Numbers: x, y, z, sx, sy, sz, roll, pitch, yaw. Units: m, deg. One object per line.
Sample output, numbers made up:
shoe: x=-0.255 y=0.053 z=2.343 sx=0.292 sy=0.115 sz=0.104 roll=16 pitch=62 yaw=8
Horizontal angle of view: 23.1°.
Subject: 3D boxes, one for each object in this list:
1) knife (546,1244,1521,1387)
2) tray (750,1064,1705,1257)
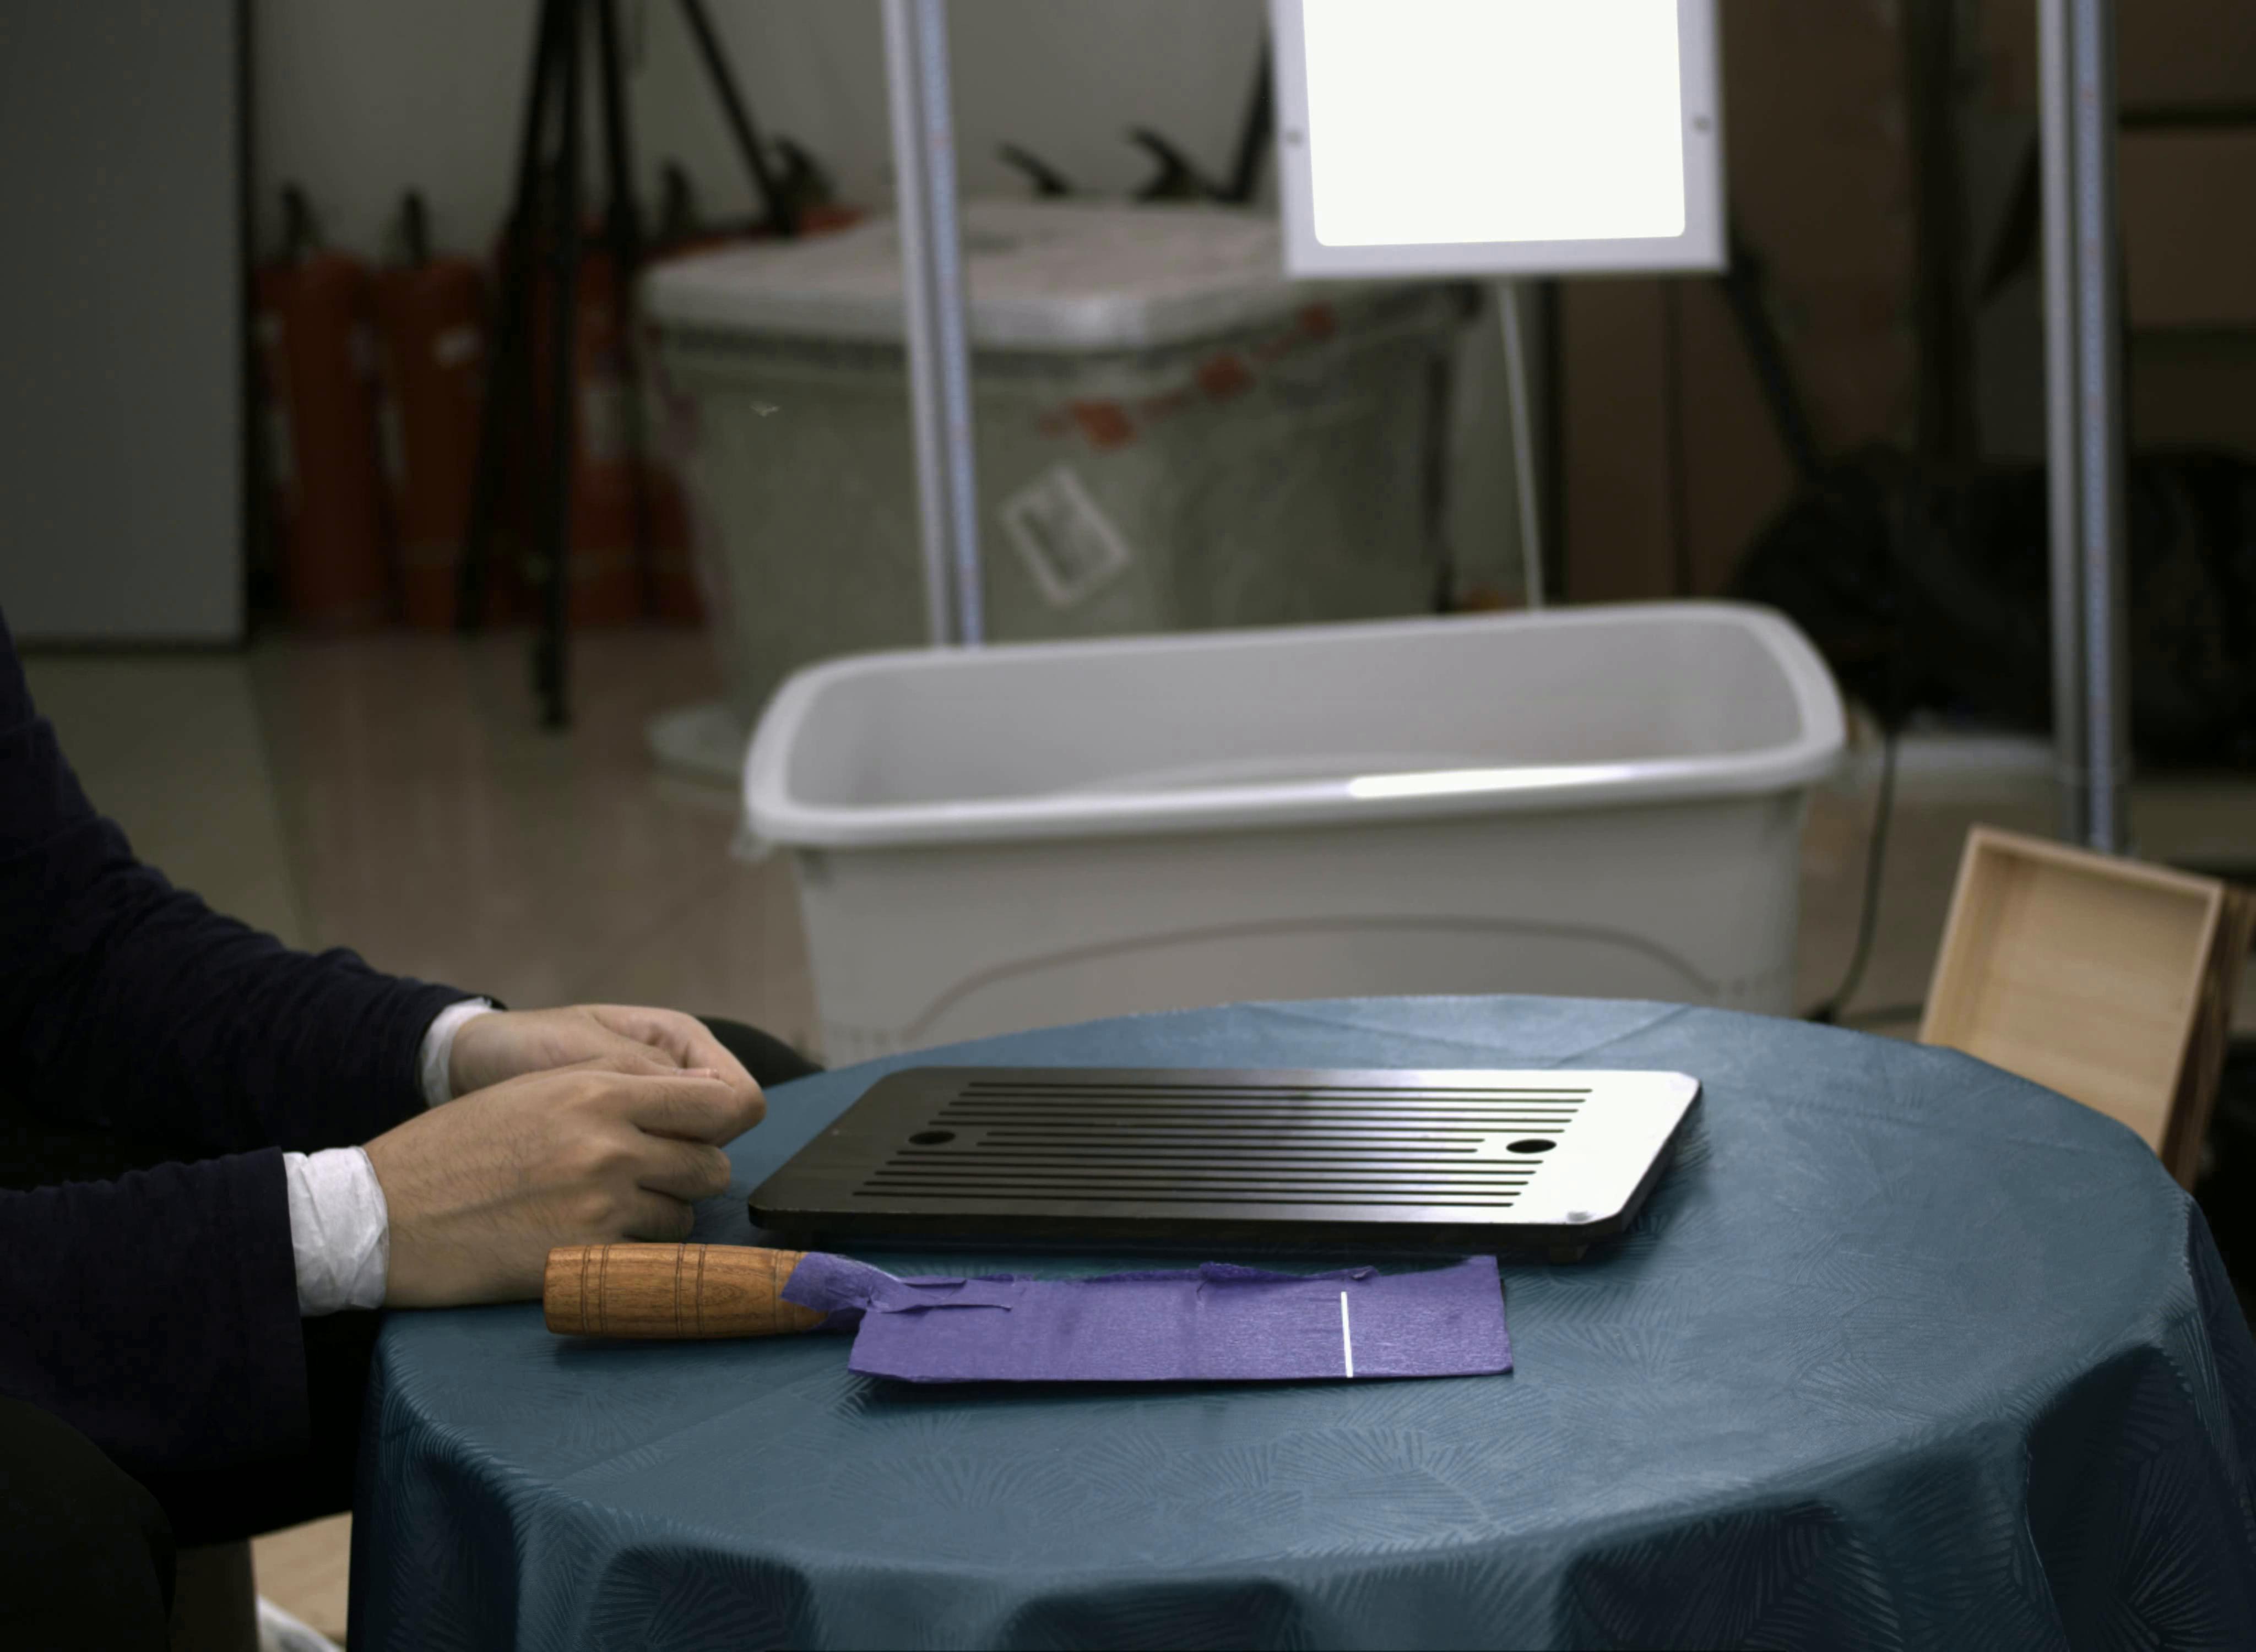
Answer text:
knife: x=-0.033 y=0.154 z=1.745 sx=0.316 sy=0.032 sz=0.103 roll=-3 pitch=13 yaw=6
tray: x=0.037 y=0.114 z=1.901 sx=0.310 sy=0.019 sz=0.167 roll=-1 pitch=14 yaw=19
